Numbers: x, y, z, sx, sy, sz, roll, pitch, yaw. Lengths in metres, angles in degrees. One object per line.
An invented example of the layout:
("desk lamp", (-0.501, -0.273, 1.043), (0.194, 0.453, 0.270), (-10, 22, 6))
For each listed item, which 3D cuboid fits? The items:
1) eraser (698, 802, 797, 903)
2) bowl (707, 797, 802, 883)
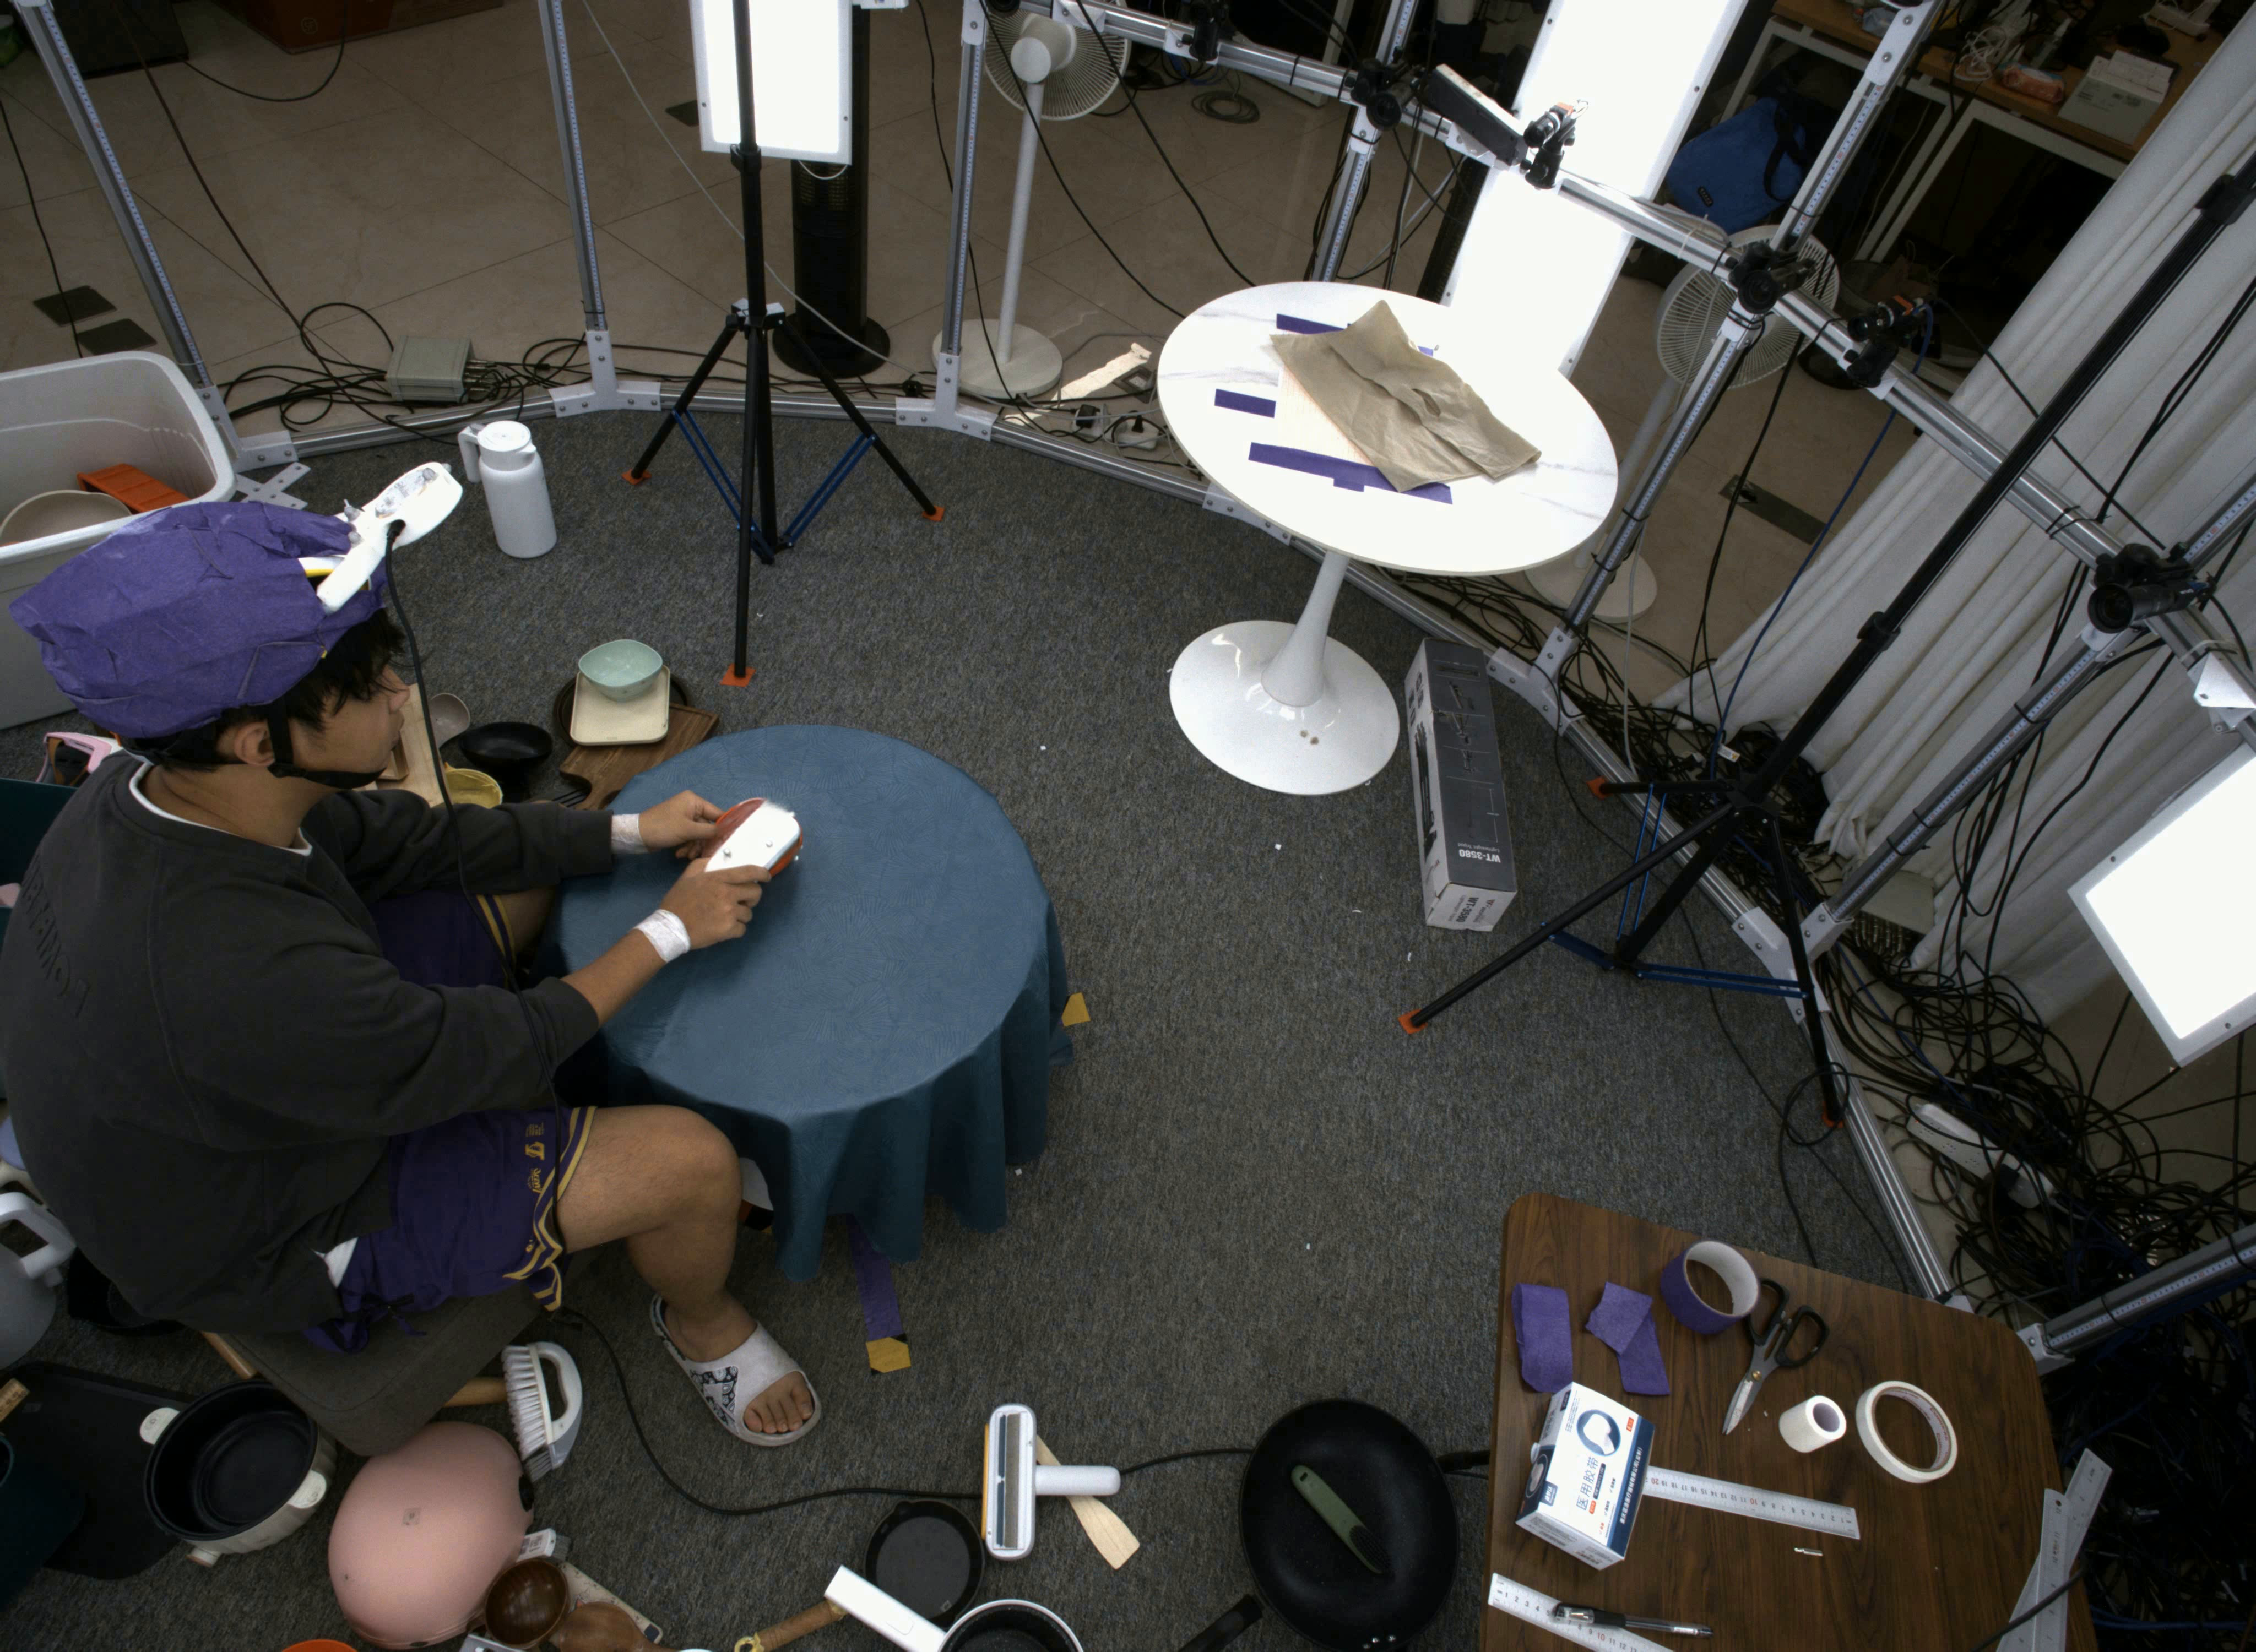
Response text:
("eraser", (-0.471, 0.030, 1.599), (0.062, 0.035, 0.131), (37, 75, 16))
("bowl", (-0.475, 0.026, 1.659), (0.118, 0.052, 0.117), (3, 59, -4))
